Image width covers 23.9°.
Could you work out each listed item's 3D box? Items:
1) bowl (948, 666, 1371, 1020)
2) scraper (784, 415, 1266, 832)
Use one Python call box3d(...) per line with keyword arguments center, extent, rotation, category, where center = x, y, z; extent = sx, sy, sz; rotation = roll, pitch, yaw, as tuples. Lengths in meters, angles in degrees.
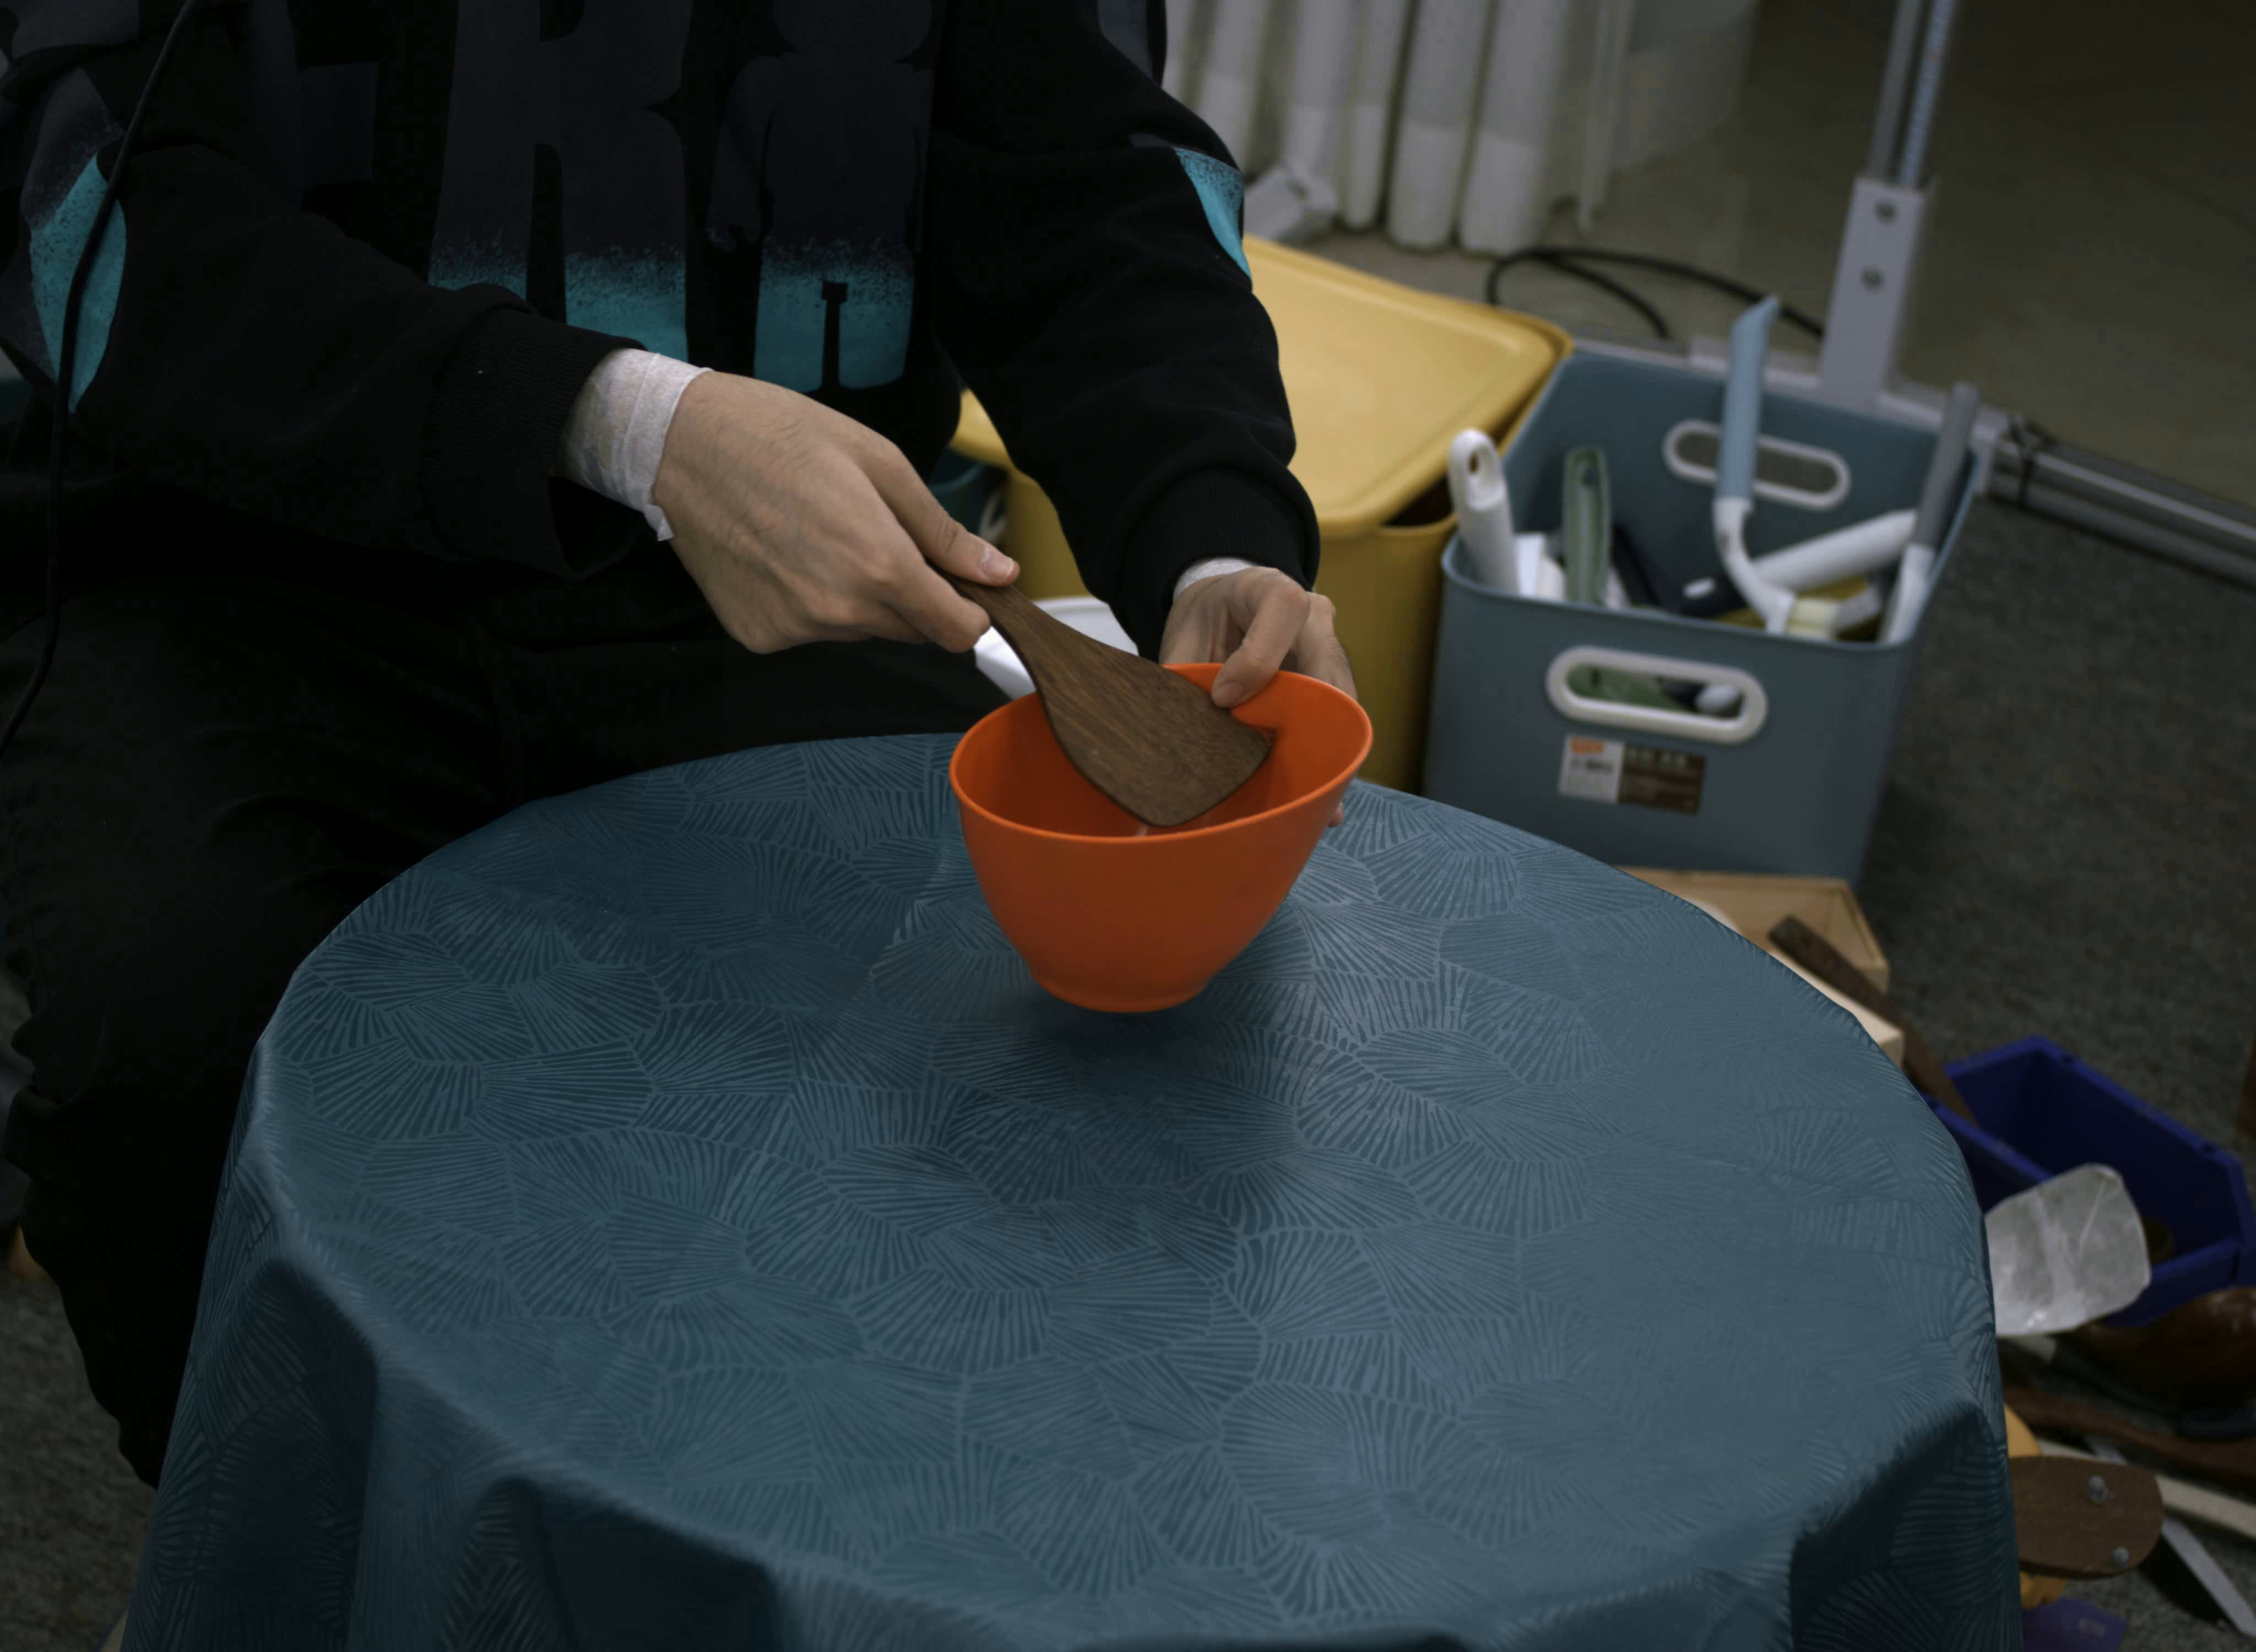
box3d(center=(0.010, 0.011, 1.869), extent=(0.147, 0.104, 0.149), rotation=(0, 29, -1), category="bowl")
box3d(center=(-0.043, -0.076, 1.905), extent=(0.212, 0.011, 0.075), rotation=(42, 45, 14), category="scraper")
